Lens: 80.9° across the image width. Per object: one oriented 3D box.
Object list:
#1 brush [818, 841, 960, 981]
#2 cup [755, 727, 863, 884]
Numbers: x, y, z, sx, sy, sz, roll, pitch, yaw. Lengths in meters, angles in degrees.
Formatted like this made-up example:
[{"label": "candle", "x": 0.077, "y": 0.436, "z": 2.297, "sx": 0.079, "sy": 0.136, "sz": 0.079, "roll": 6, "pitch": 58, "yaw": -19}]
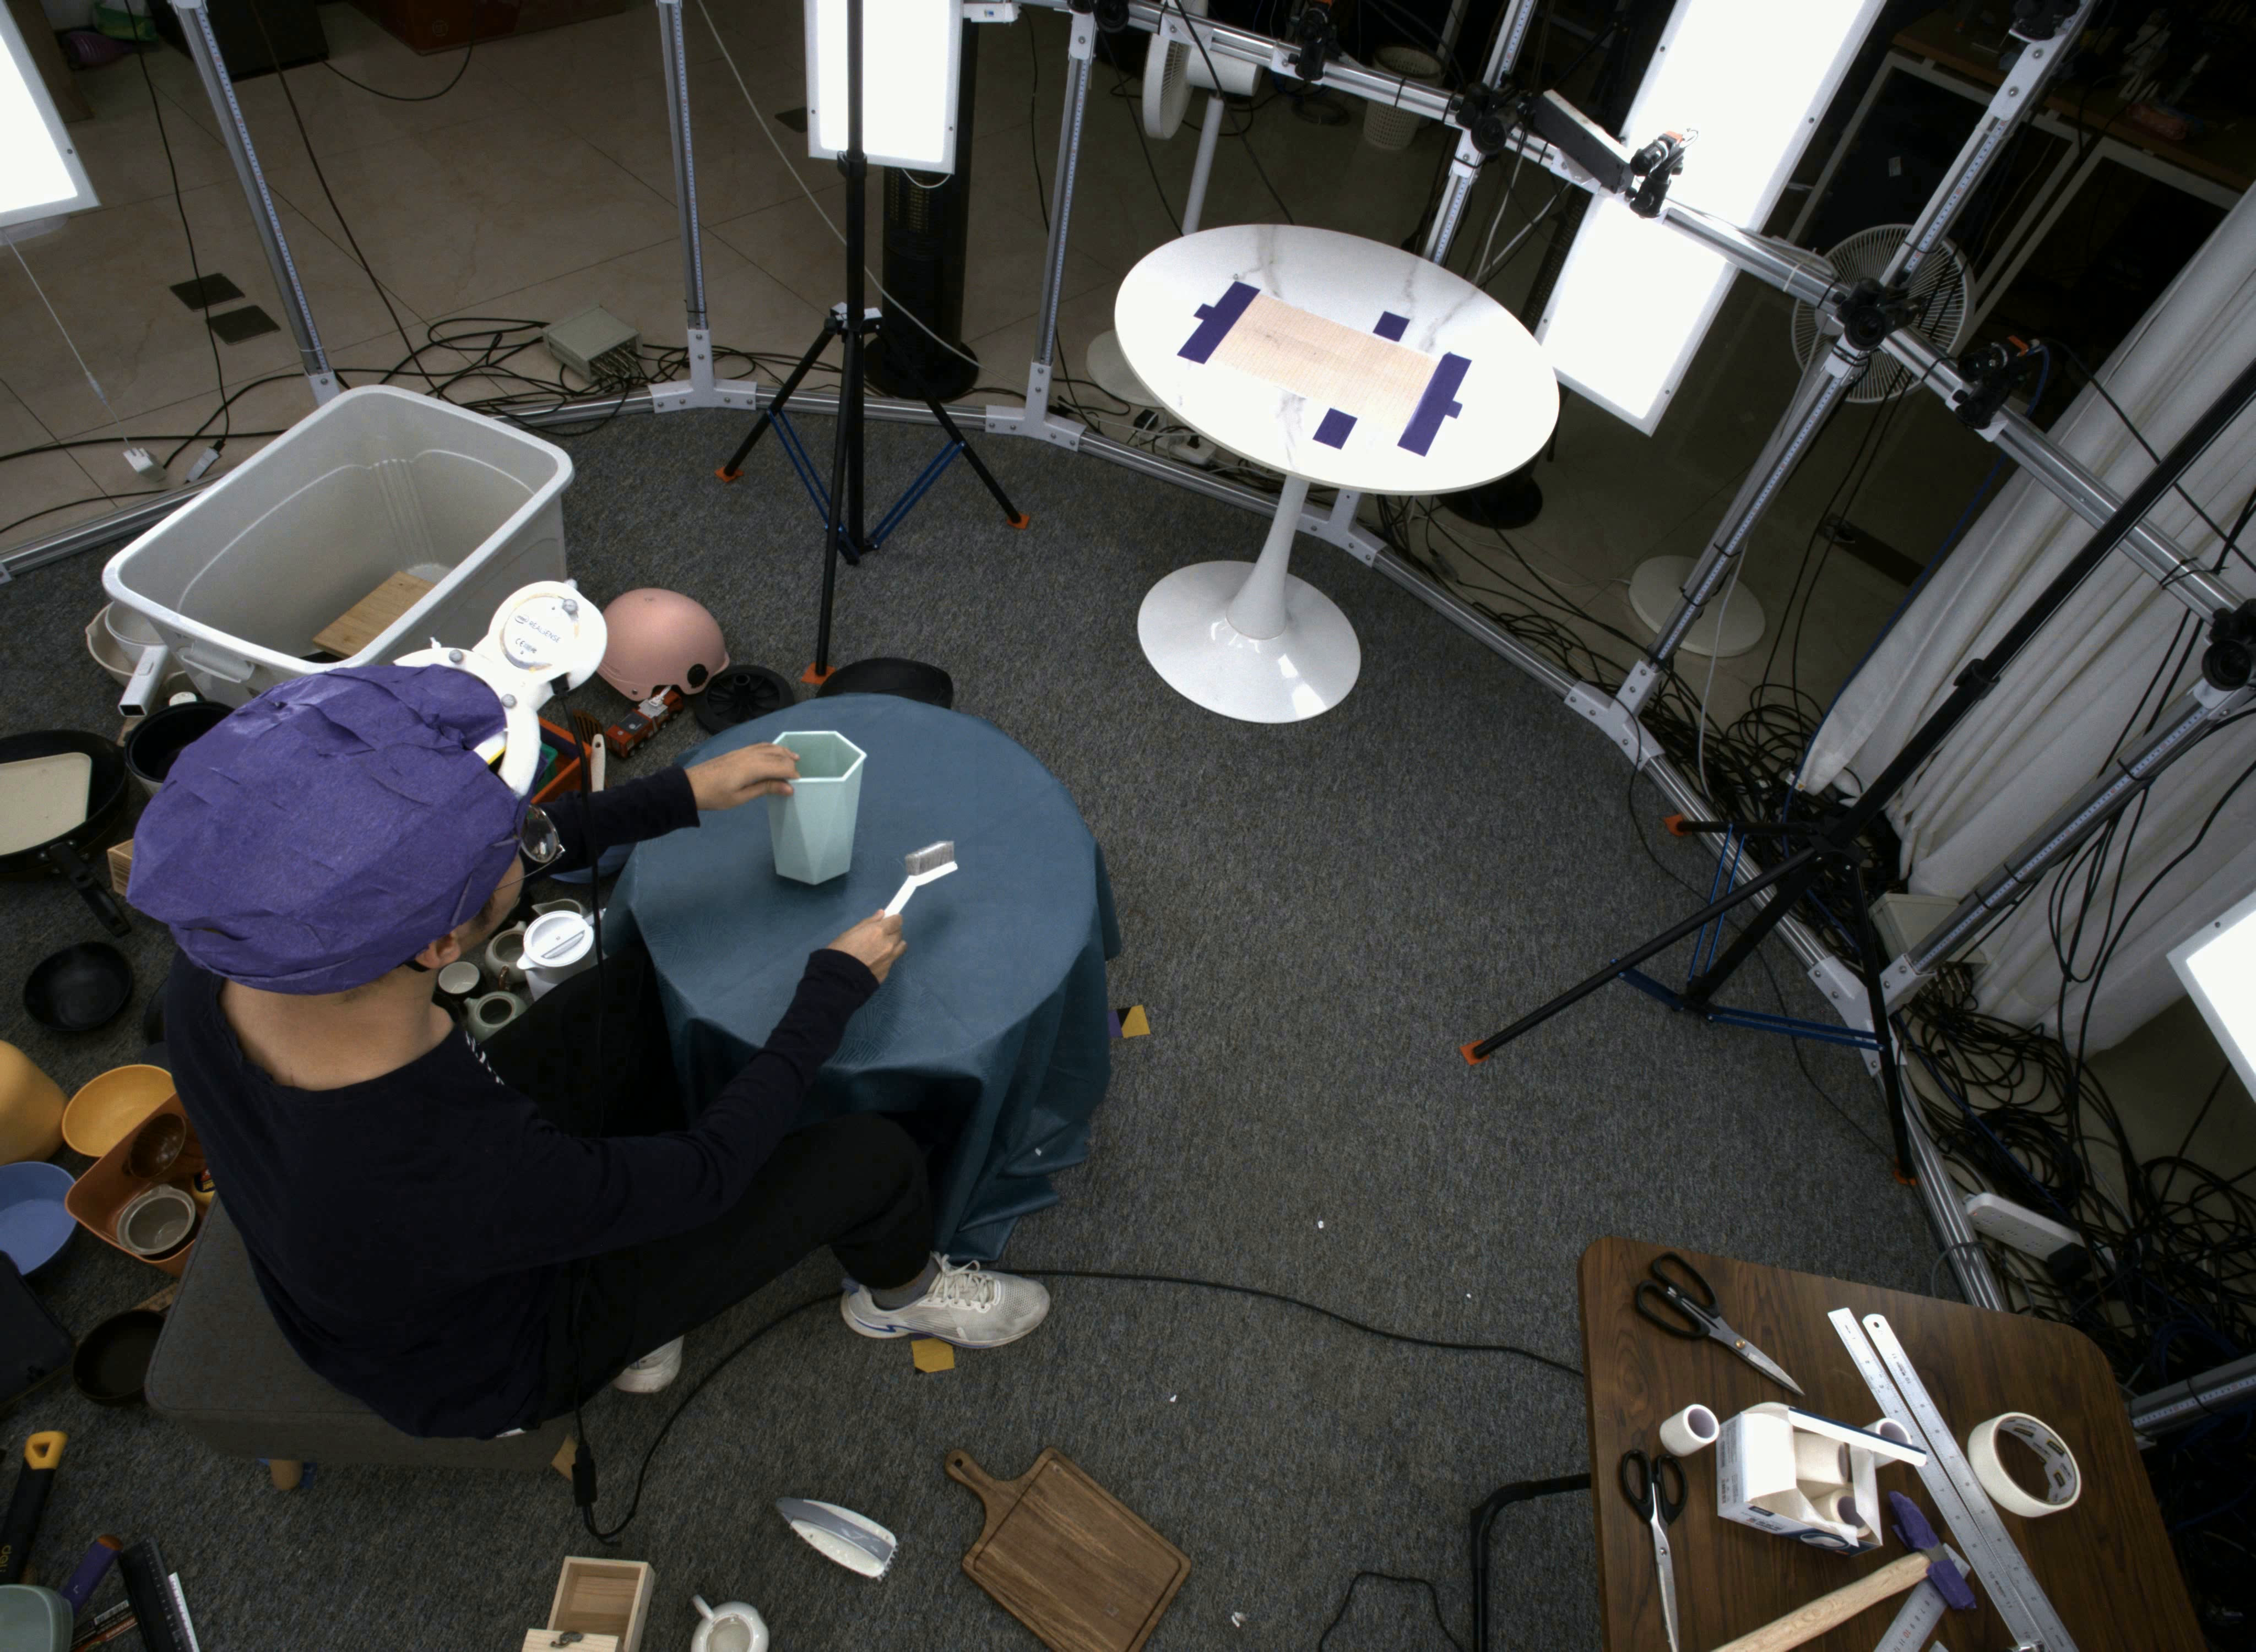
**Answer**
[{"label": "brush", "x": -0.295, "y": 0.094, "z": 1.583, "sx": 0.033, "sy": 0.052, "sz": 0.243, "roll": 8, "pitch": 41, "yaw": 44}, {"label": "cup", "x": -0.399, "y": -0.025, "z": 1.631, "sx": 0.132, "sy": 0.167, "sz": 0.111, "roll": -5, "pitch": 37, "yaw": -20}]
